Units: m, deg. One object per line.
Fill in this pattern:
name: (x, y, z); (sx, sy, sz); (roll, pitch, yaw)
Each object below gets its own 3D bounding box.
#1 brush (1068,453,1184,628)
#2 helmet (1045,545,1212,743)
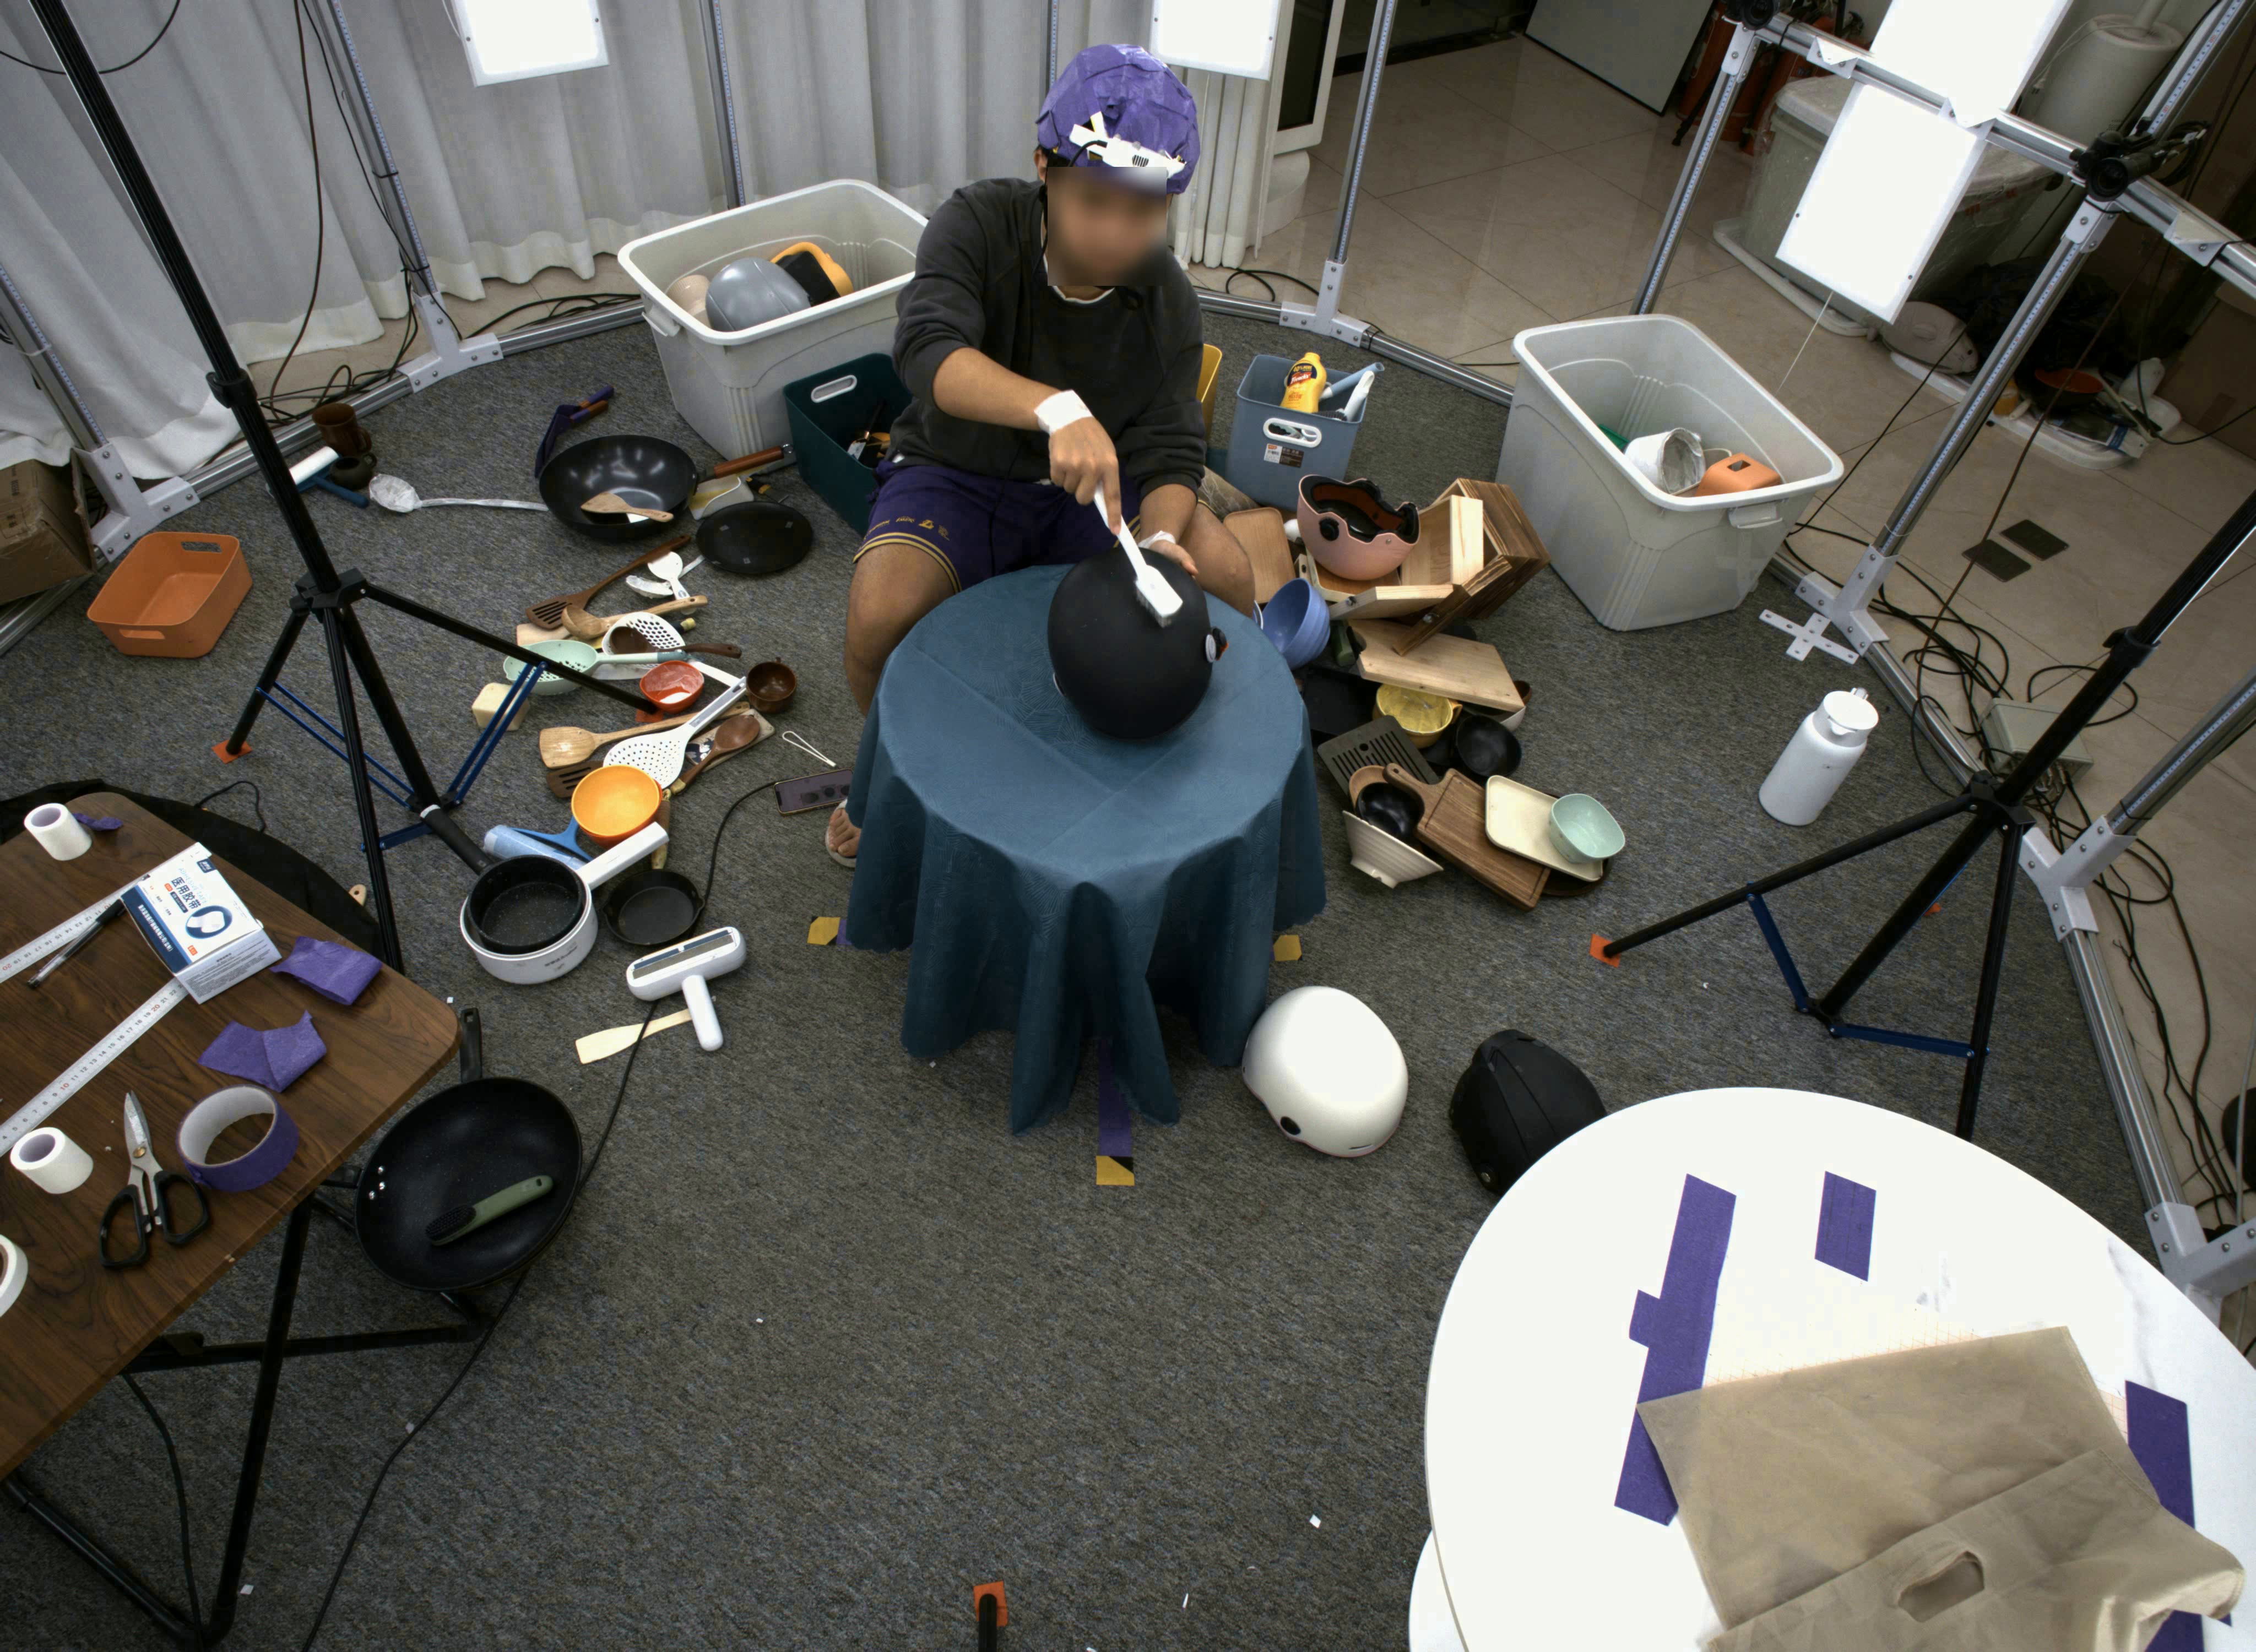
brush: (-0.007, -0.361, 1.638); (0.034, 0.050, 0.243); (-35, 92, -17)
helmet: (-0.010, -0.264, 1.737); (0.230, 0.164, 0.278); (-11, 67, 19)
